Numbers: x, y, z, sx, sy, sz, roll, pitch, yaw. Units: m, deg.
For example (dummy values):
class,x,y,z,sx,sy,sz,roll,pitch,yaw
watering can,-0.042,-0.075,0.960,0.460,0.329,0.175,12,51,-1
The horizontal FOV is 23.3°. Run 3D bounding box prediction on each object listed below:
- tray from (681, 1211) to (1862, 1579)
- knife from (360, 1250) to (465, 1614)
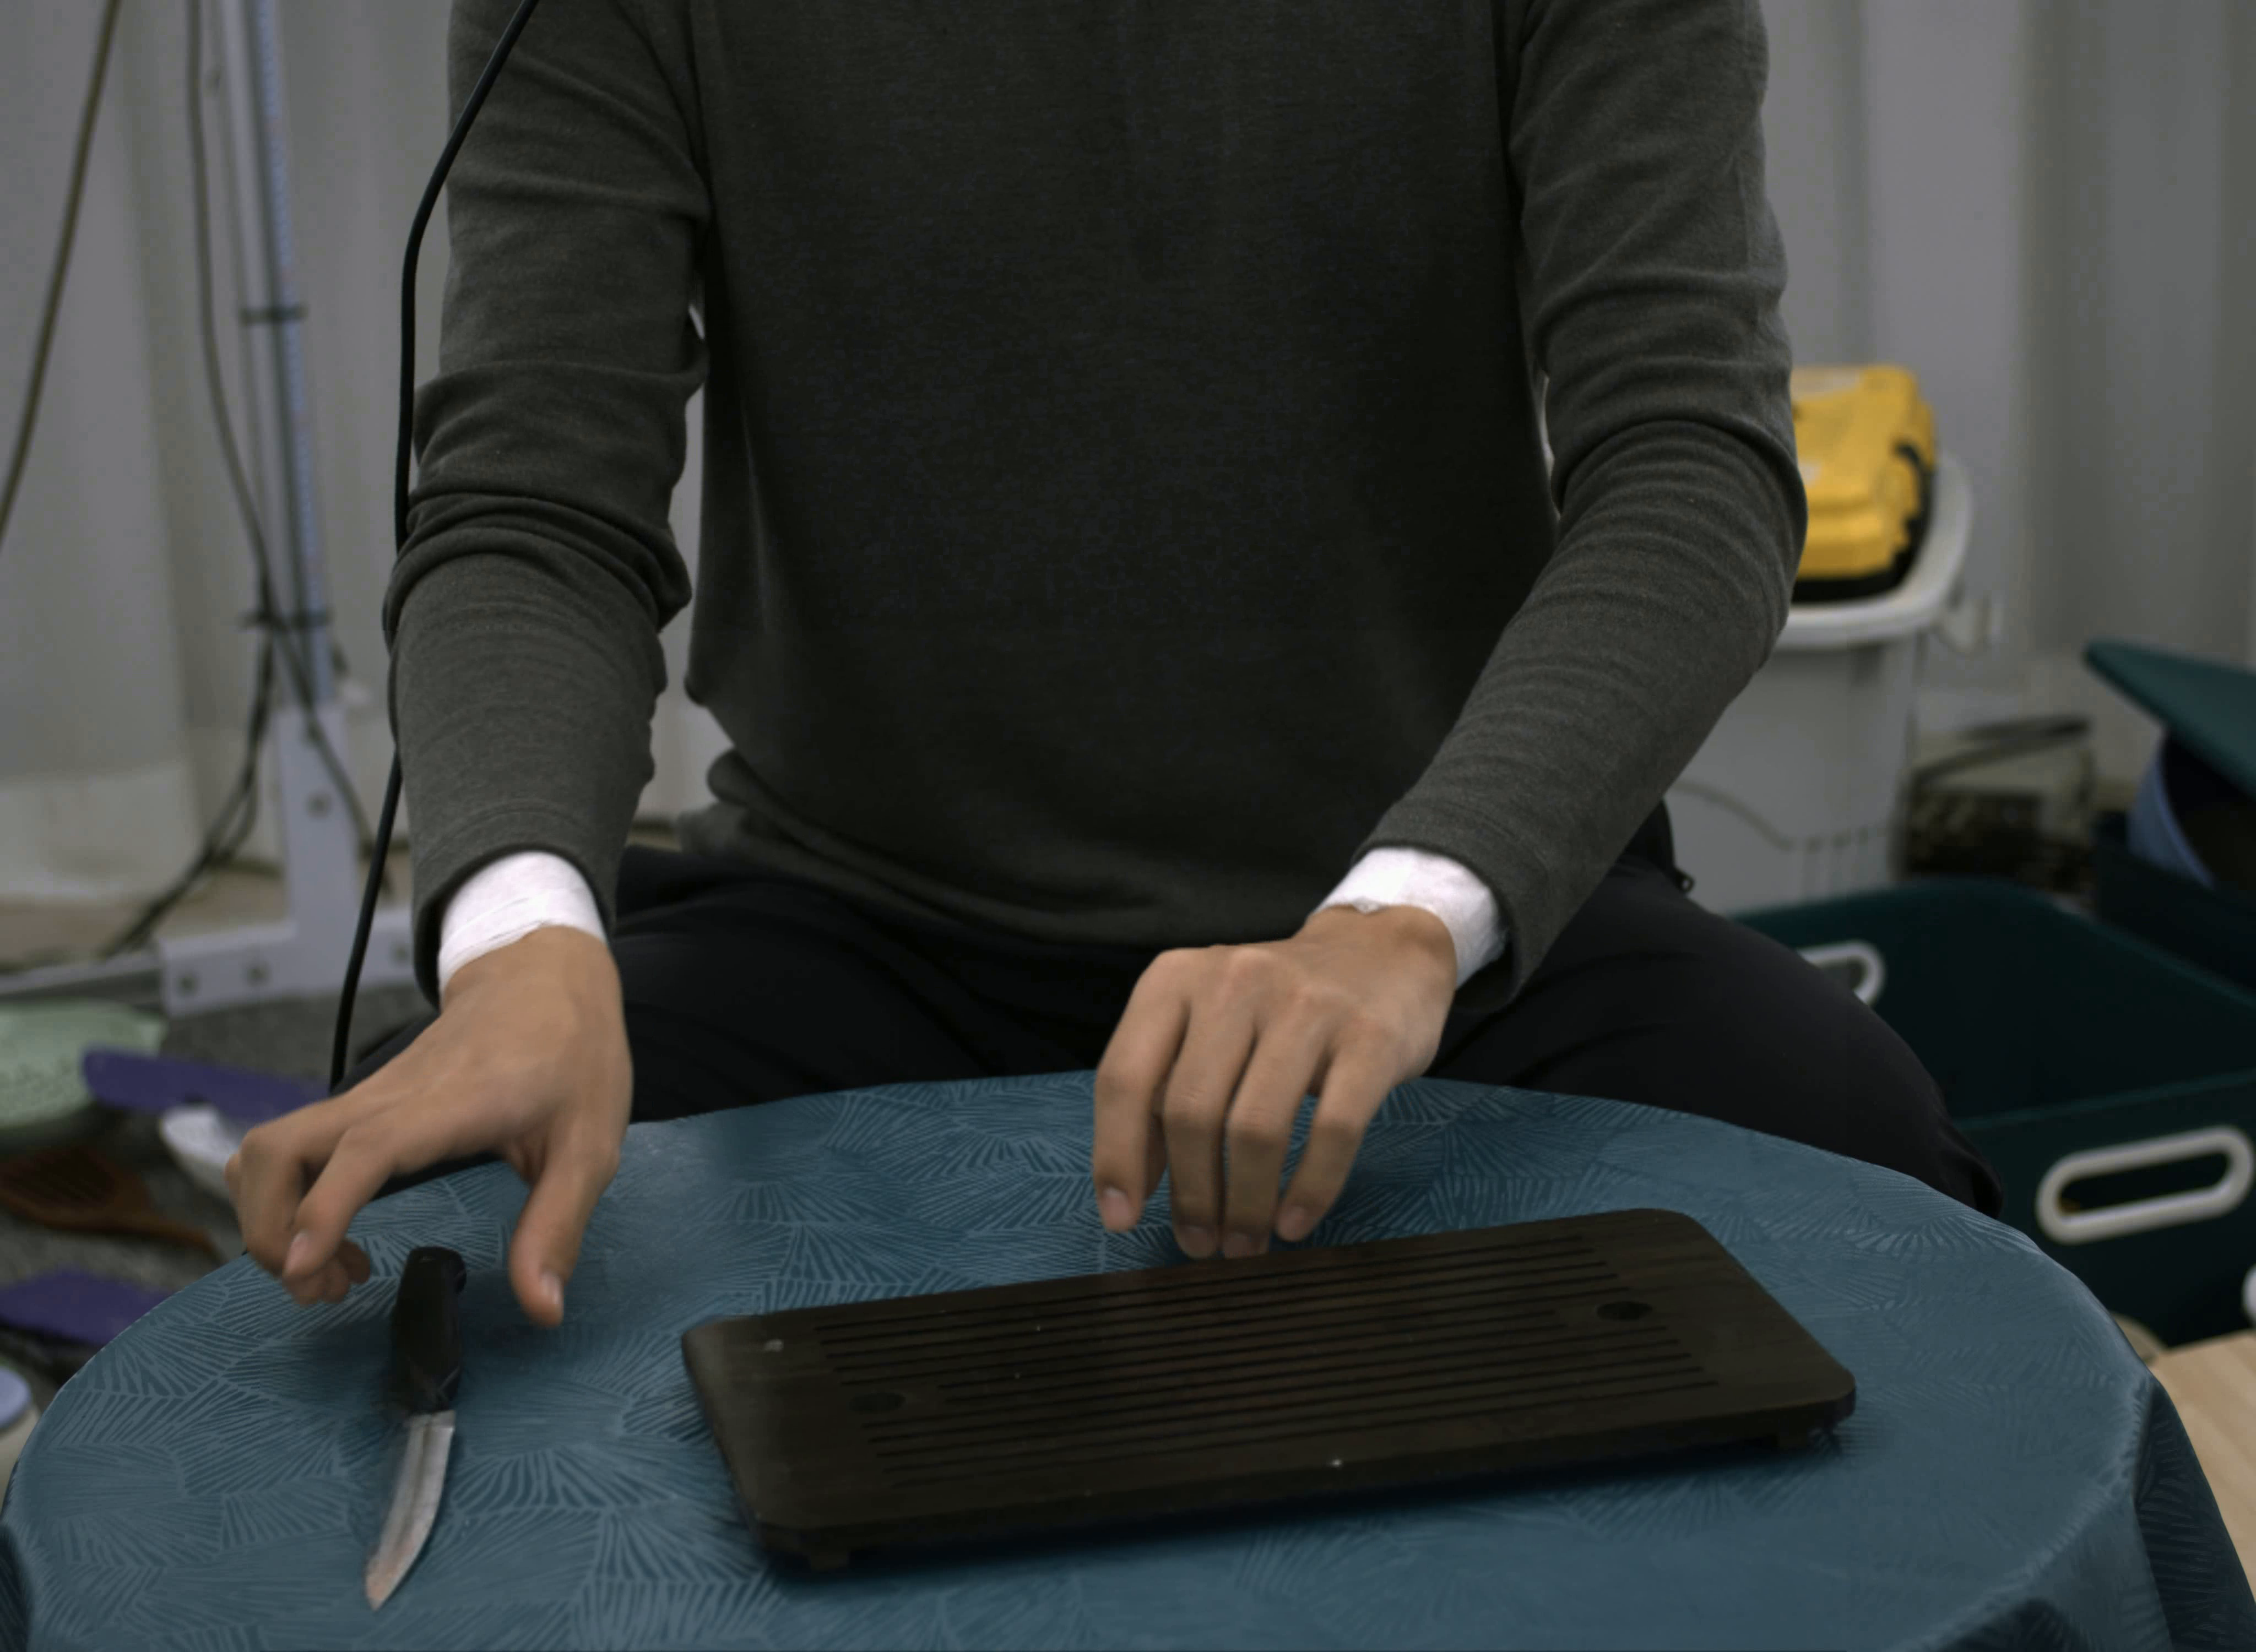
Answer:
class,x,y,z,sx,sy,sz,roll,pitch,yaw
tray,0.036,0.156,1.519,0.304,0.018,0.171,-6,15,-11
knife,-0.201,0.169,1.529,0.024,0.016,0.240,-6,18,-2
